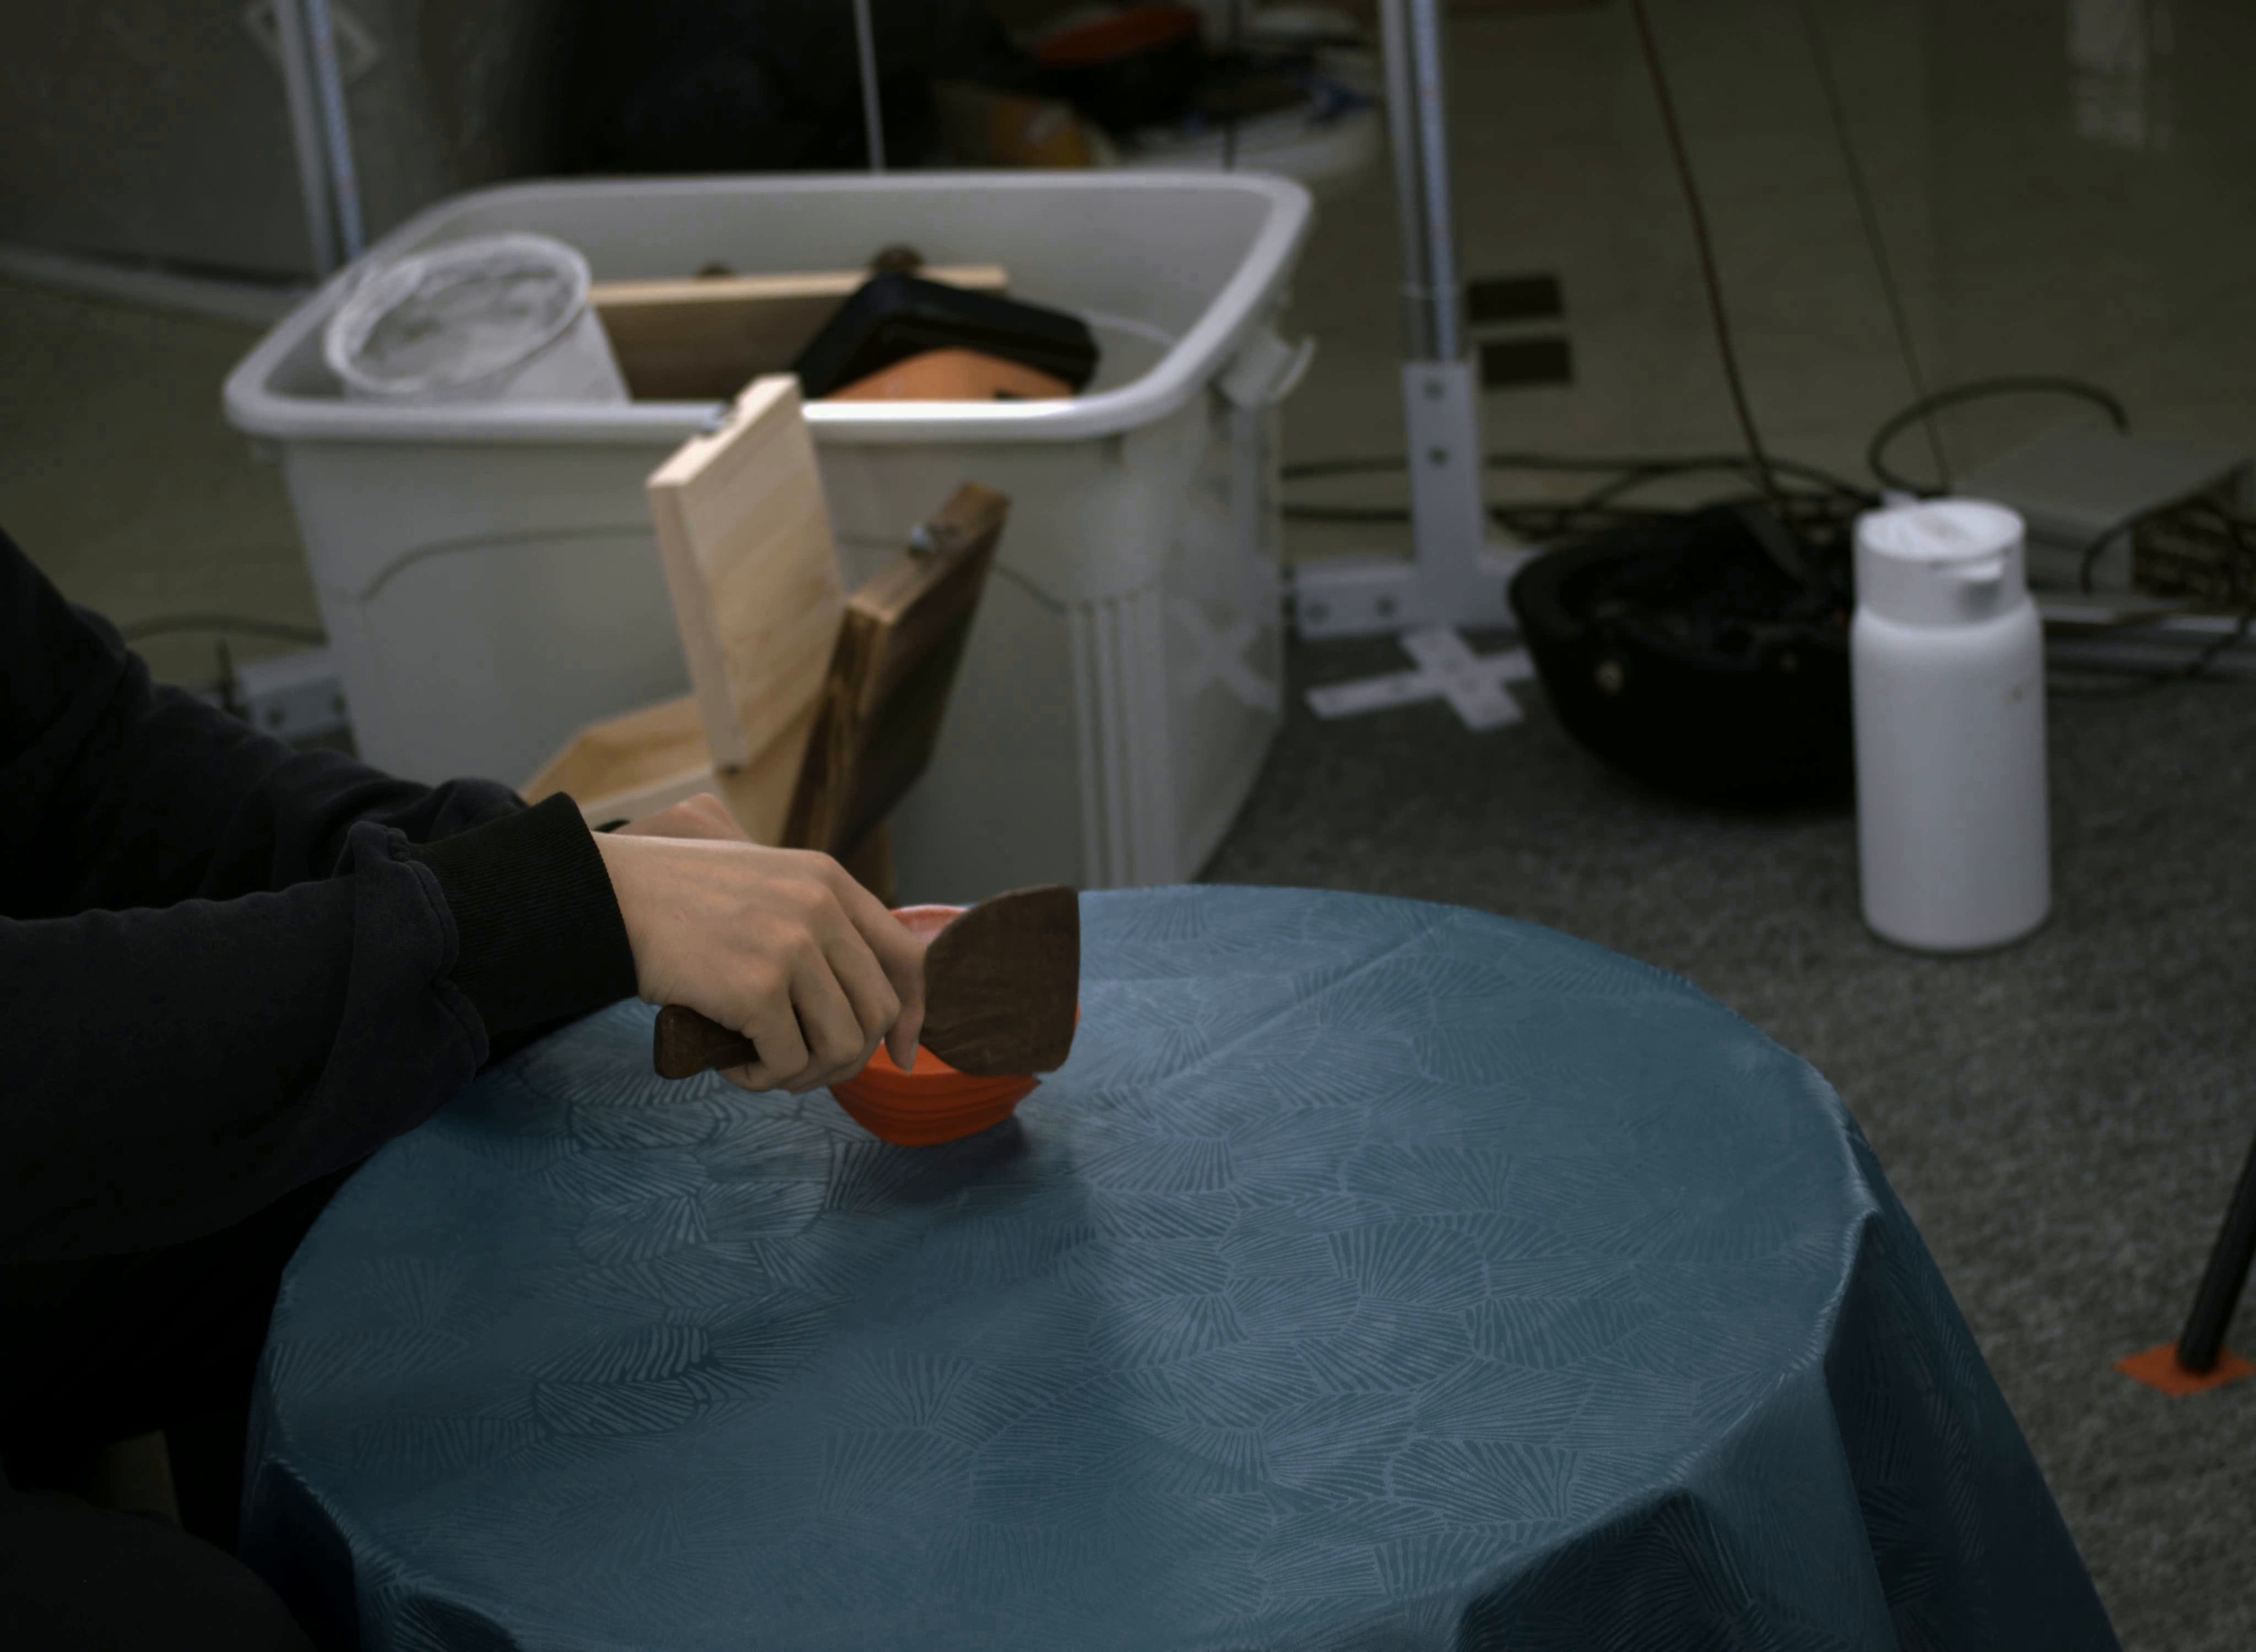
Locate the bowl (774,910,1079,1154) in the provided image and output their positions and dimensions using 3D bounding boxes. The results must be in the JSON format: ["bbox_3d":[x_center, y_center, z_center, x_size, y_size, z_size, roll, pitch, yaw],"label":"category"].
[{"bbox_3d":[-0.080,0.086,2.208,0.119,0.052,0.117,5,34,-4],"label":"bowl"}]

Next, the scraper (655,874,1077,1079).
[{"bbox_3d":[-0.094,0.064,2.073,0.011,0.076,0.210,16,17,41],"label":"scraper"}]
